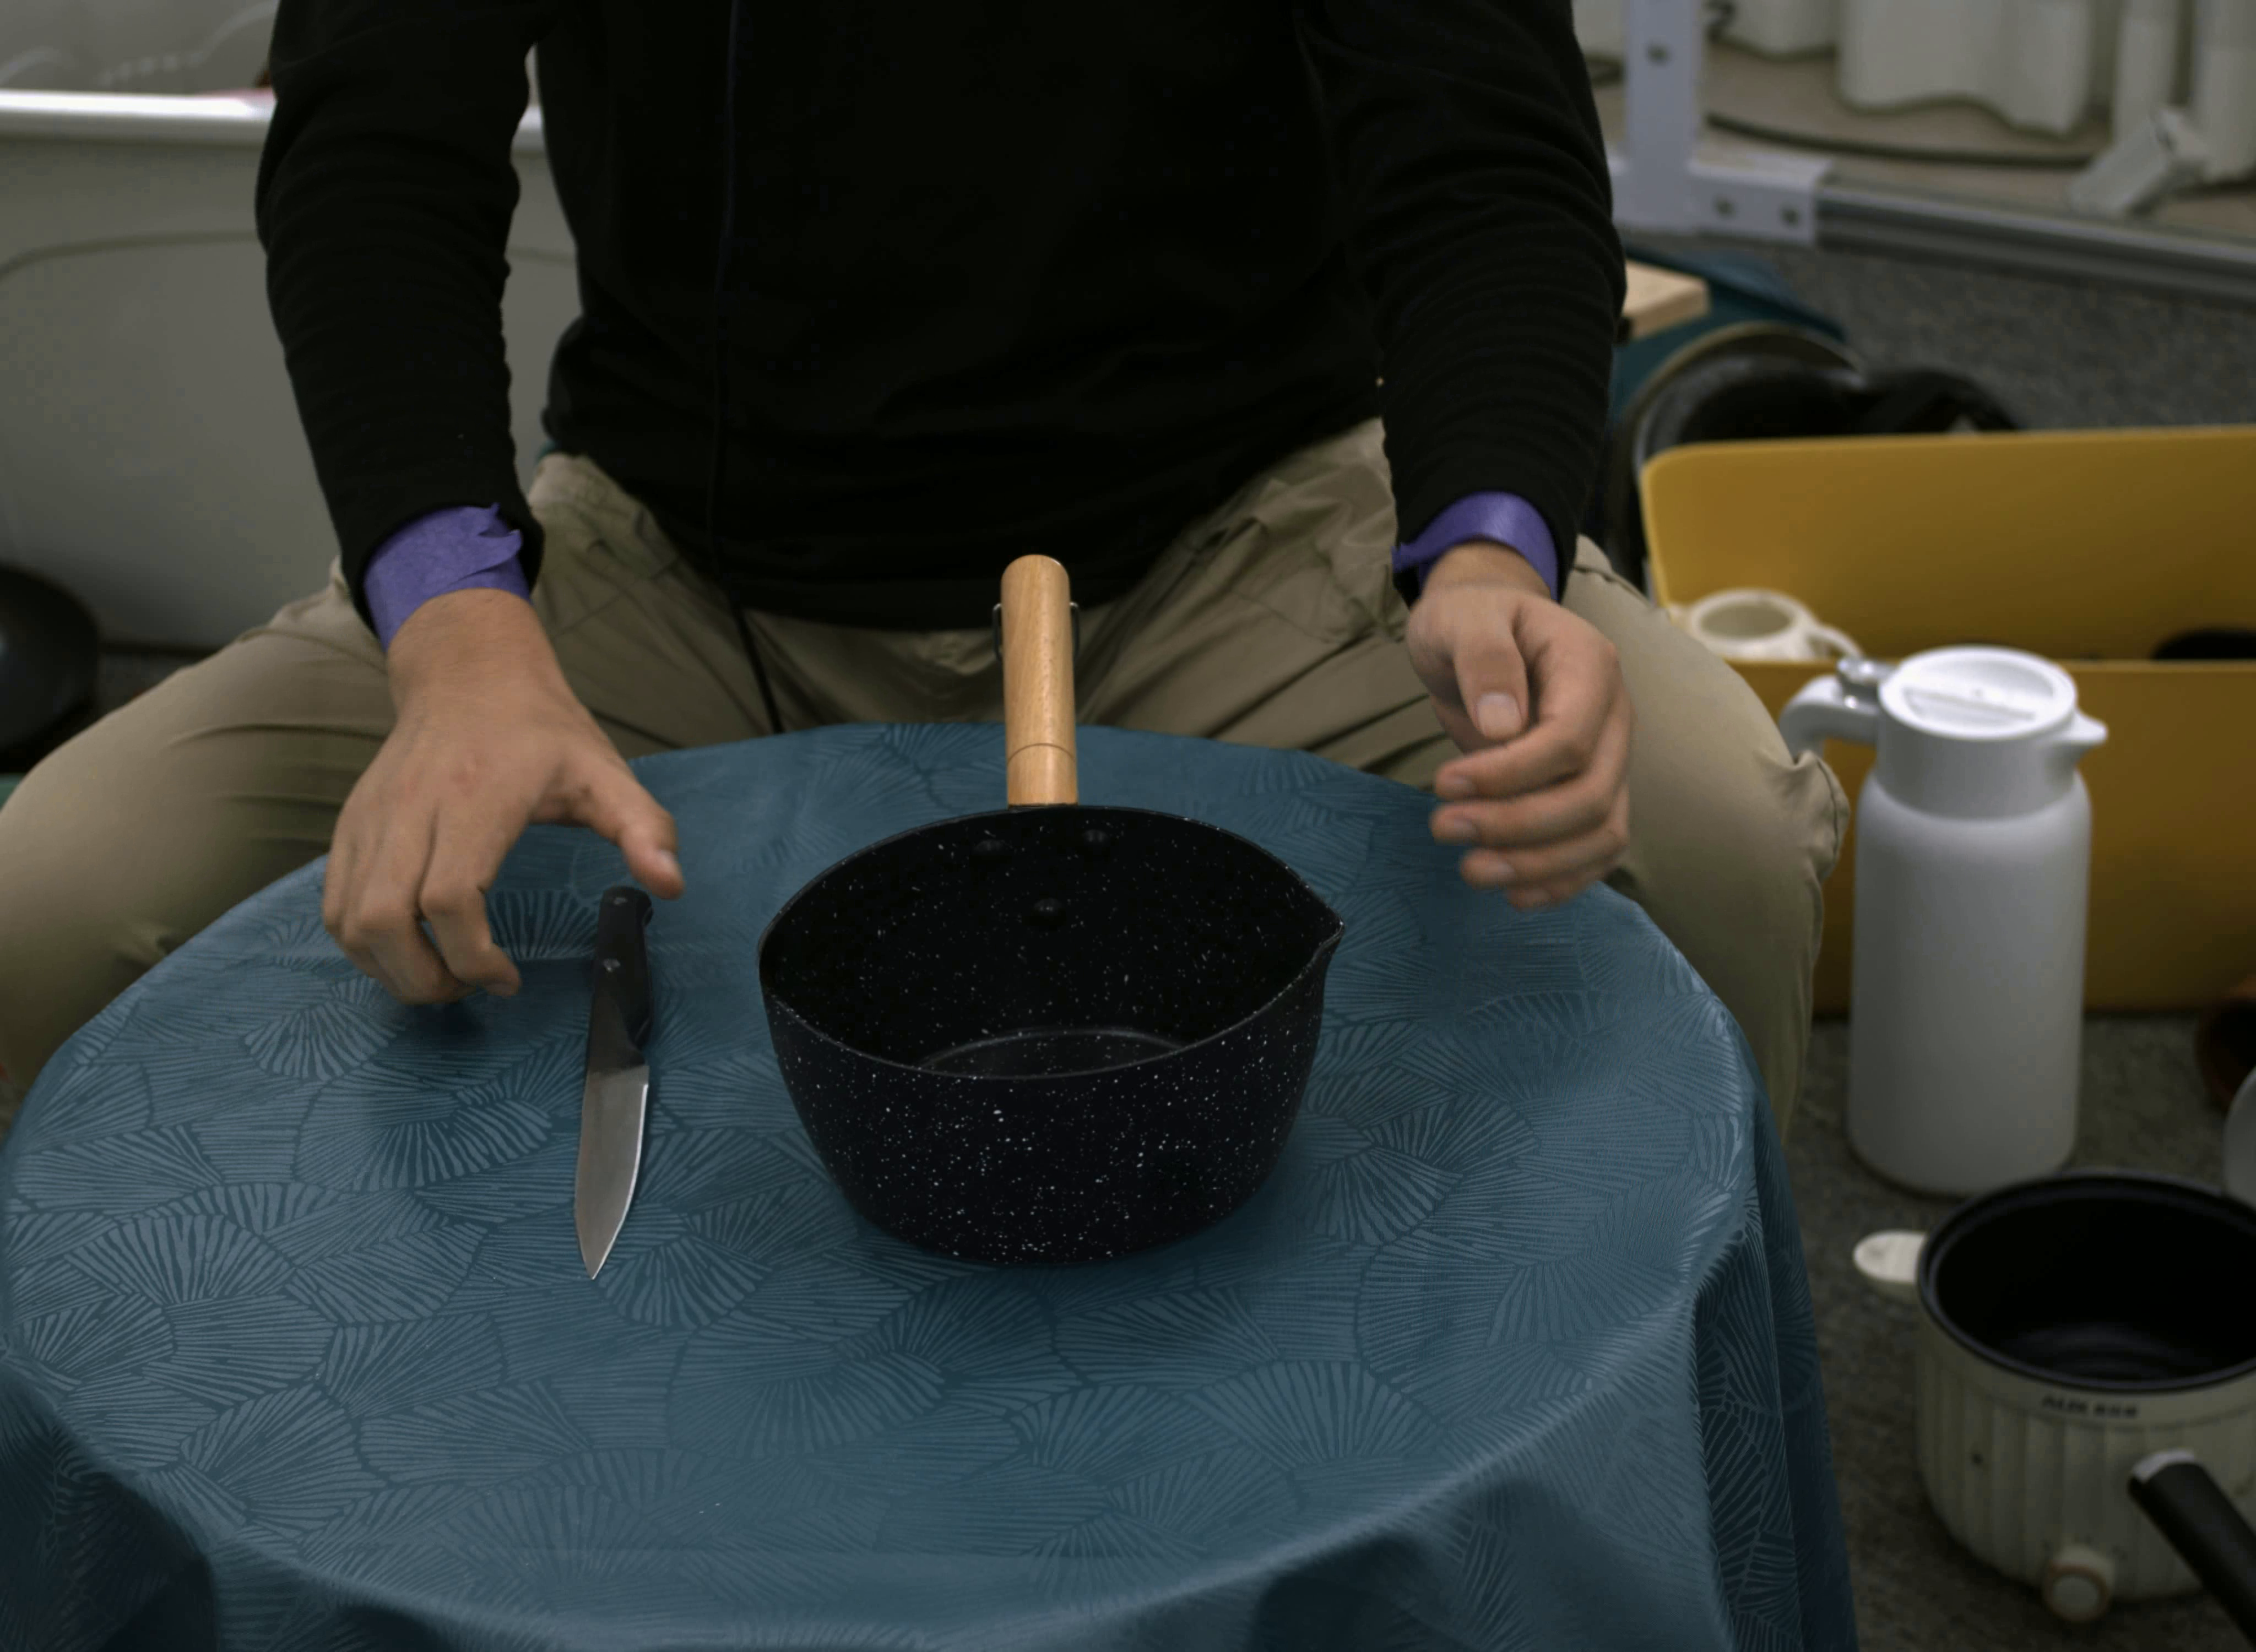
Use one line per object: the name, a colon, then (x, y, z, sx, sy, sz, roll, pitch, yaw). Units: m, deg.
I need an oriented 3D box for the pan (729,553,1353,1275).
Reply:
pan: (-0.030, 0.027, 1.932, 0.206, 0.107, 0.348, -4, 28, 0)

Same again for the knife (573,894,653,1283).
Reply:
knife: (-0.178, 0.089, 1.928, 0.024, 0.016, 0.242, 0, 30, -3)
